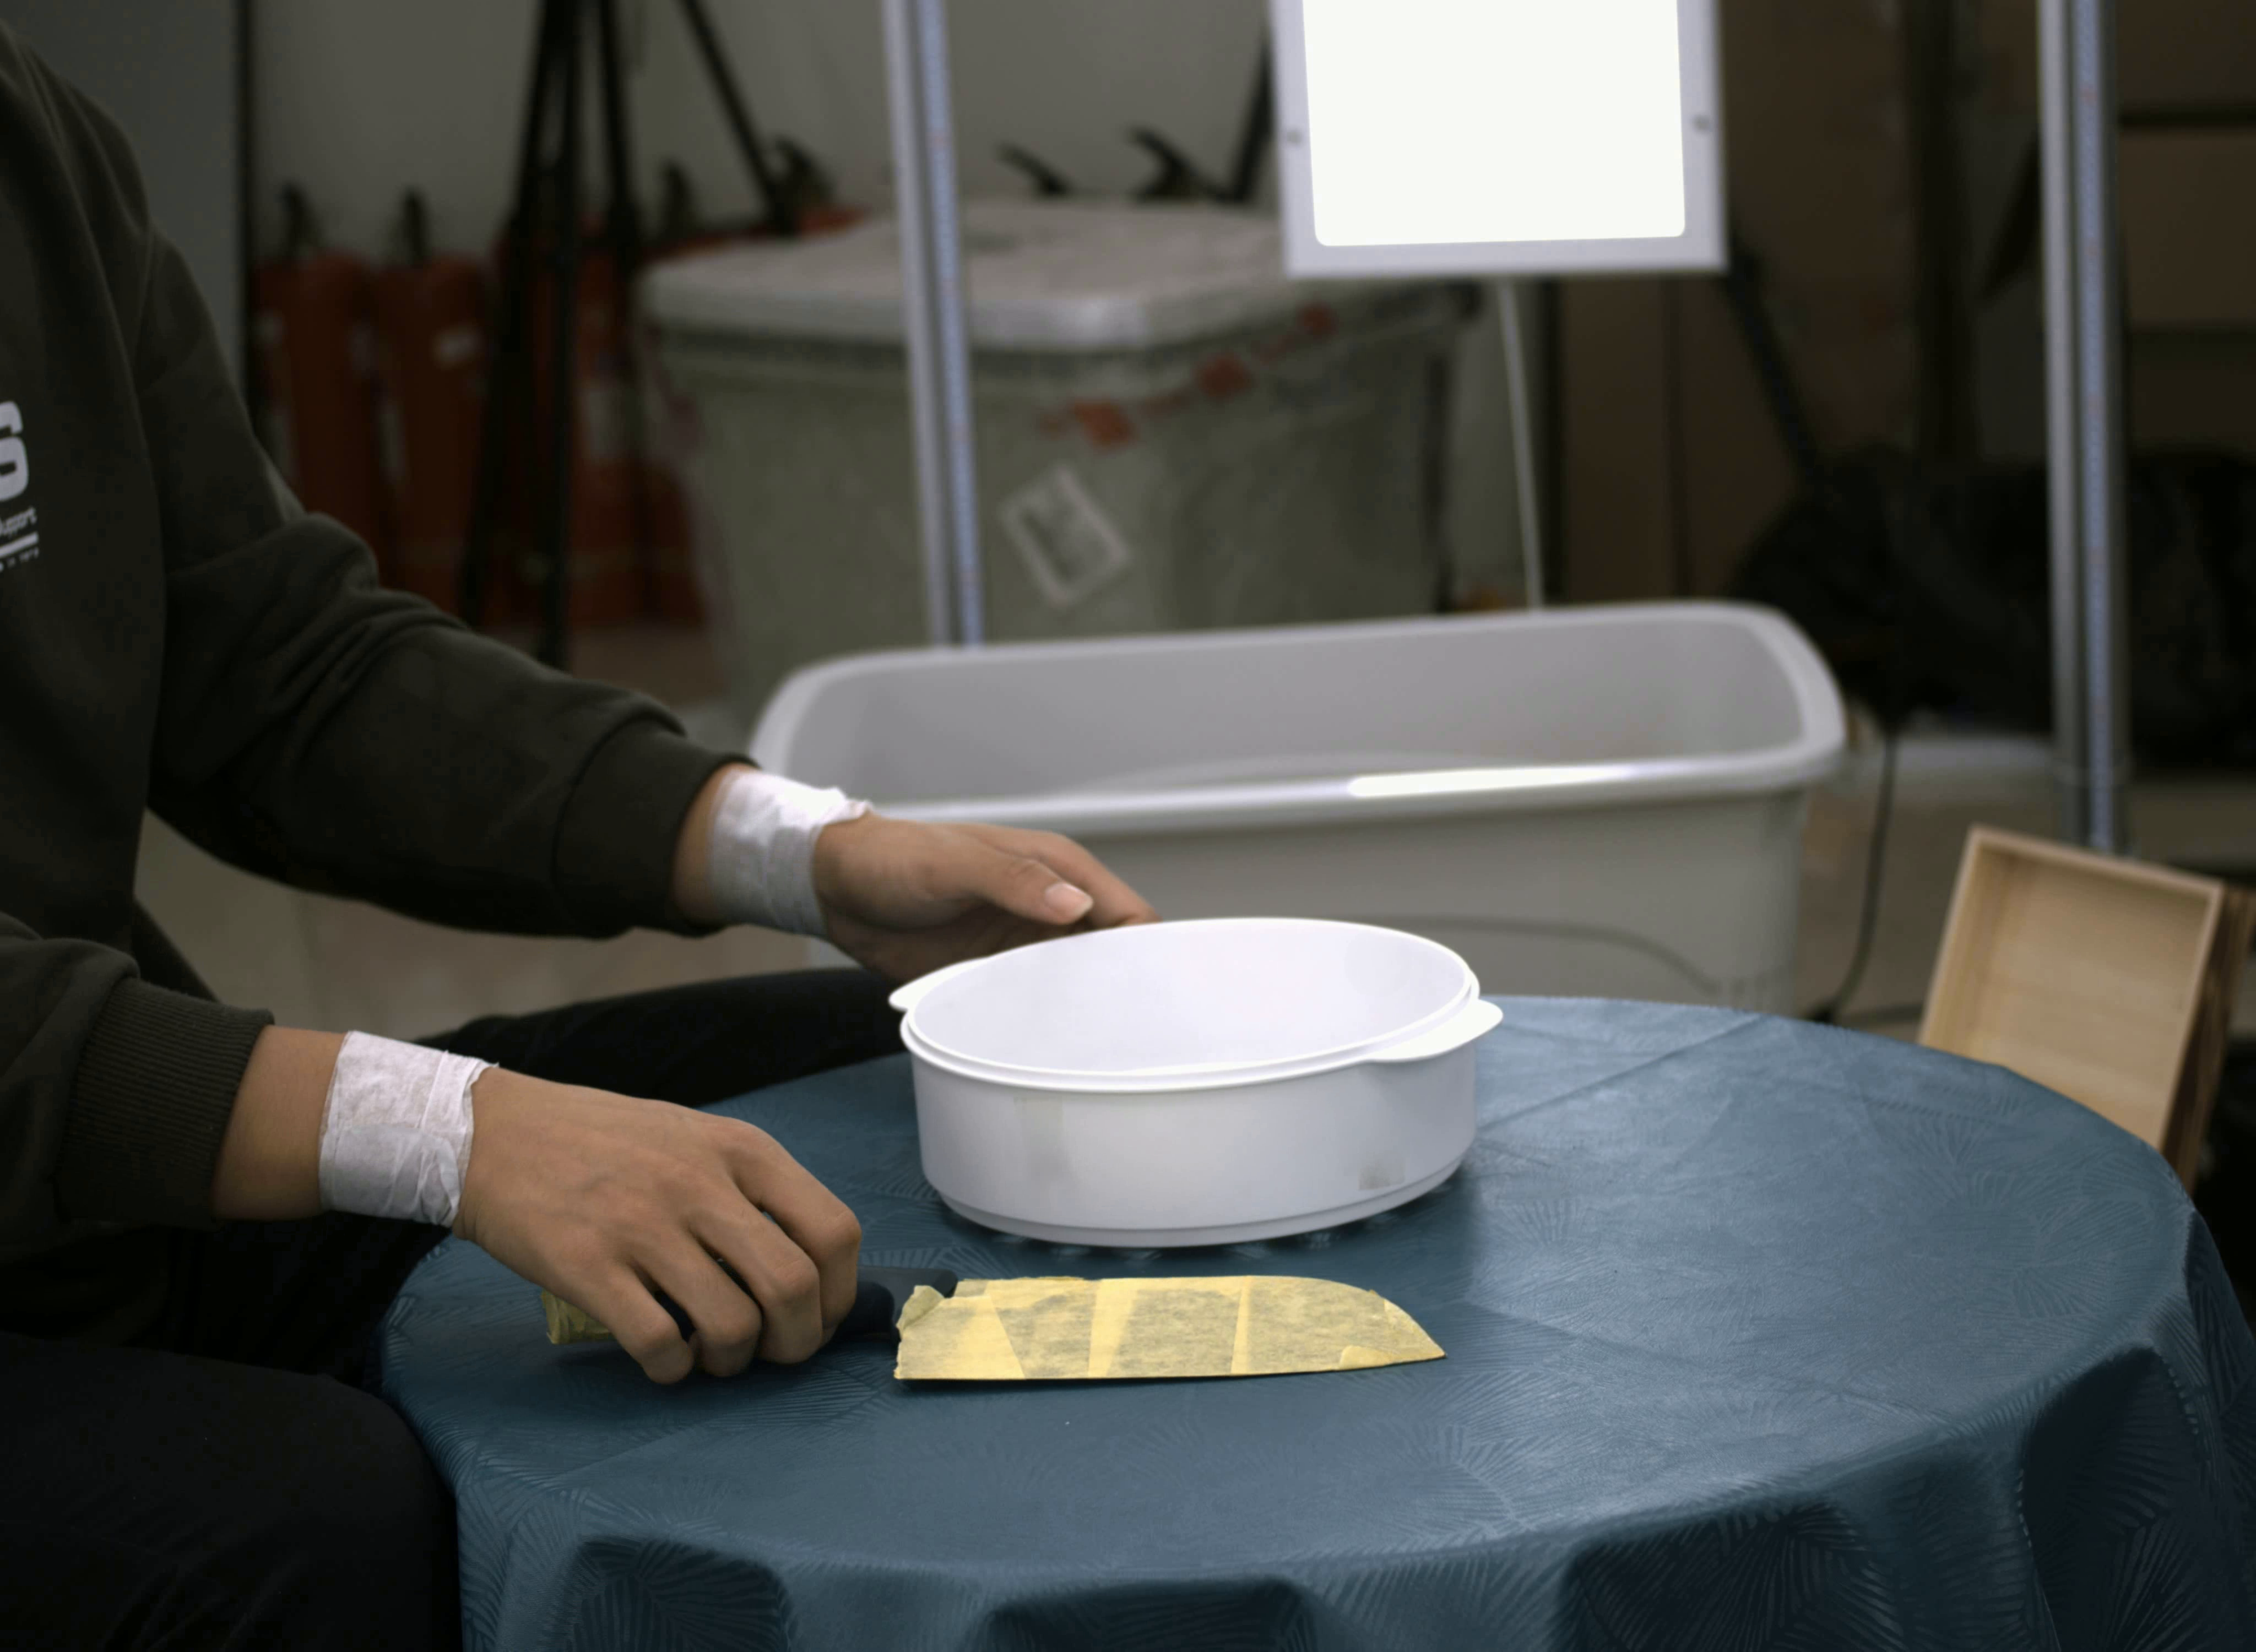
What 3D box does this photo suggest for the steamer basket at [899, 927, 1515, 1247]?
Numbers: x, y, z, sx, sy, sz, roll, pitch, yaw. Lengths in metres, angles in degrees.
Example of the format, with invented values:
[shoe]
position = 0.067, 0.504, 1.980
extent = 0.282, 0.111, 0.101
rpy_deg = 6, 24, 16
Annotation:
[steamer basket]
position = 0.028, 0.090, 1.901
extent = 0.235, 0.069, 0.197
rpy_deg = 3, 15, 35

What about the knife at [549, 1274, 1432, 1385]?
[knife]
position = -0.046, 0.161, 1.751
extent = 0.291, 0.027, 0.080
rpy_deg = -2, 17, 11
